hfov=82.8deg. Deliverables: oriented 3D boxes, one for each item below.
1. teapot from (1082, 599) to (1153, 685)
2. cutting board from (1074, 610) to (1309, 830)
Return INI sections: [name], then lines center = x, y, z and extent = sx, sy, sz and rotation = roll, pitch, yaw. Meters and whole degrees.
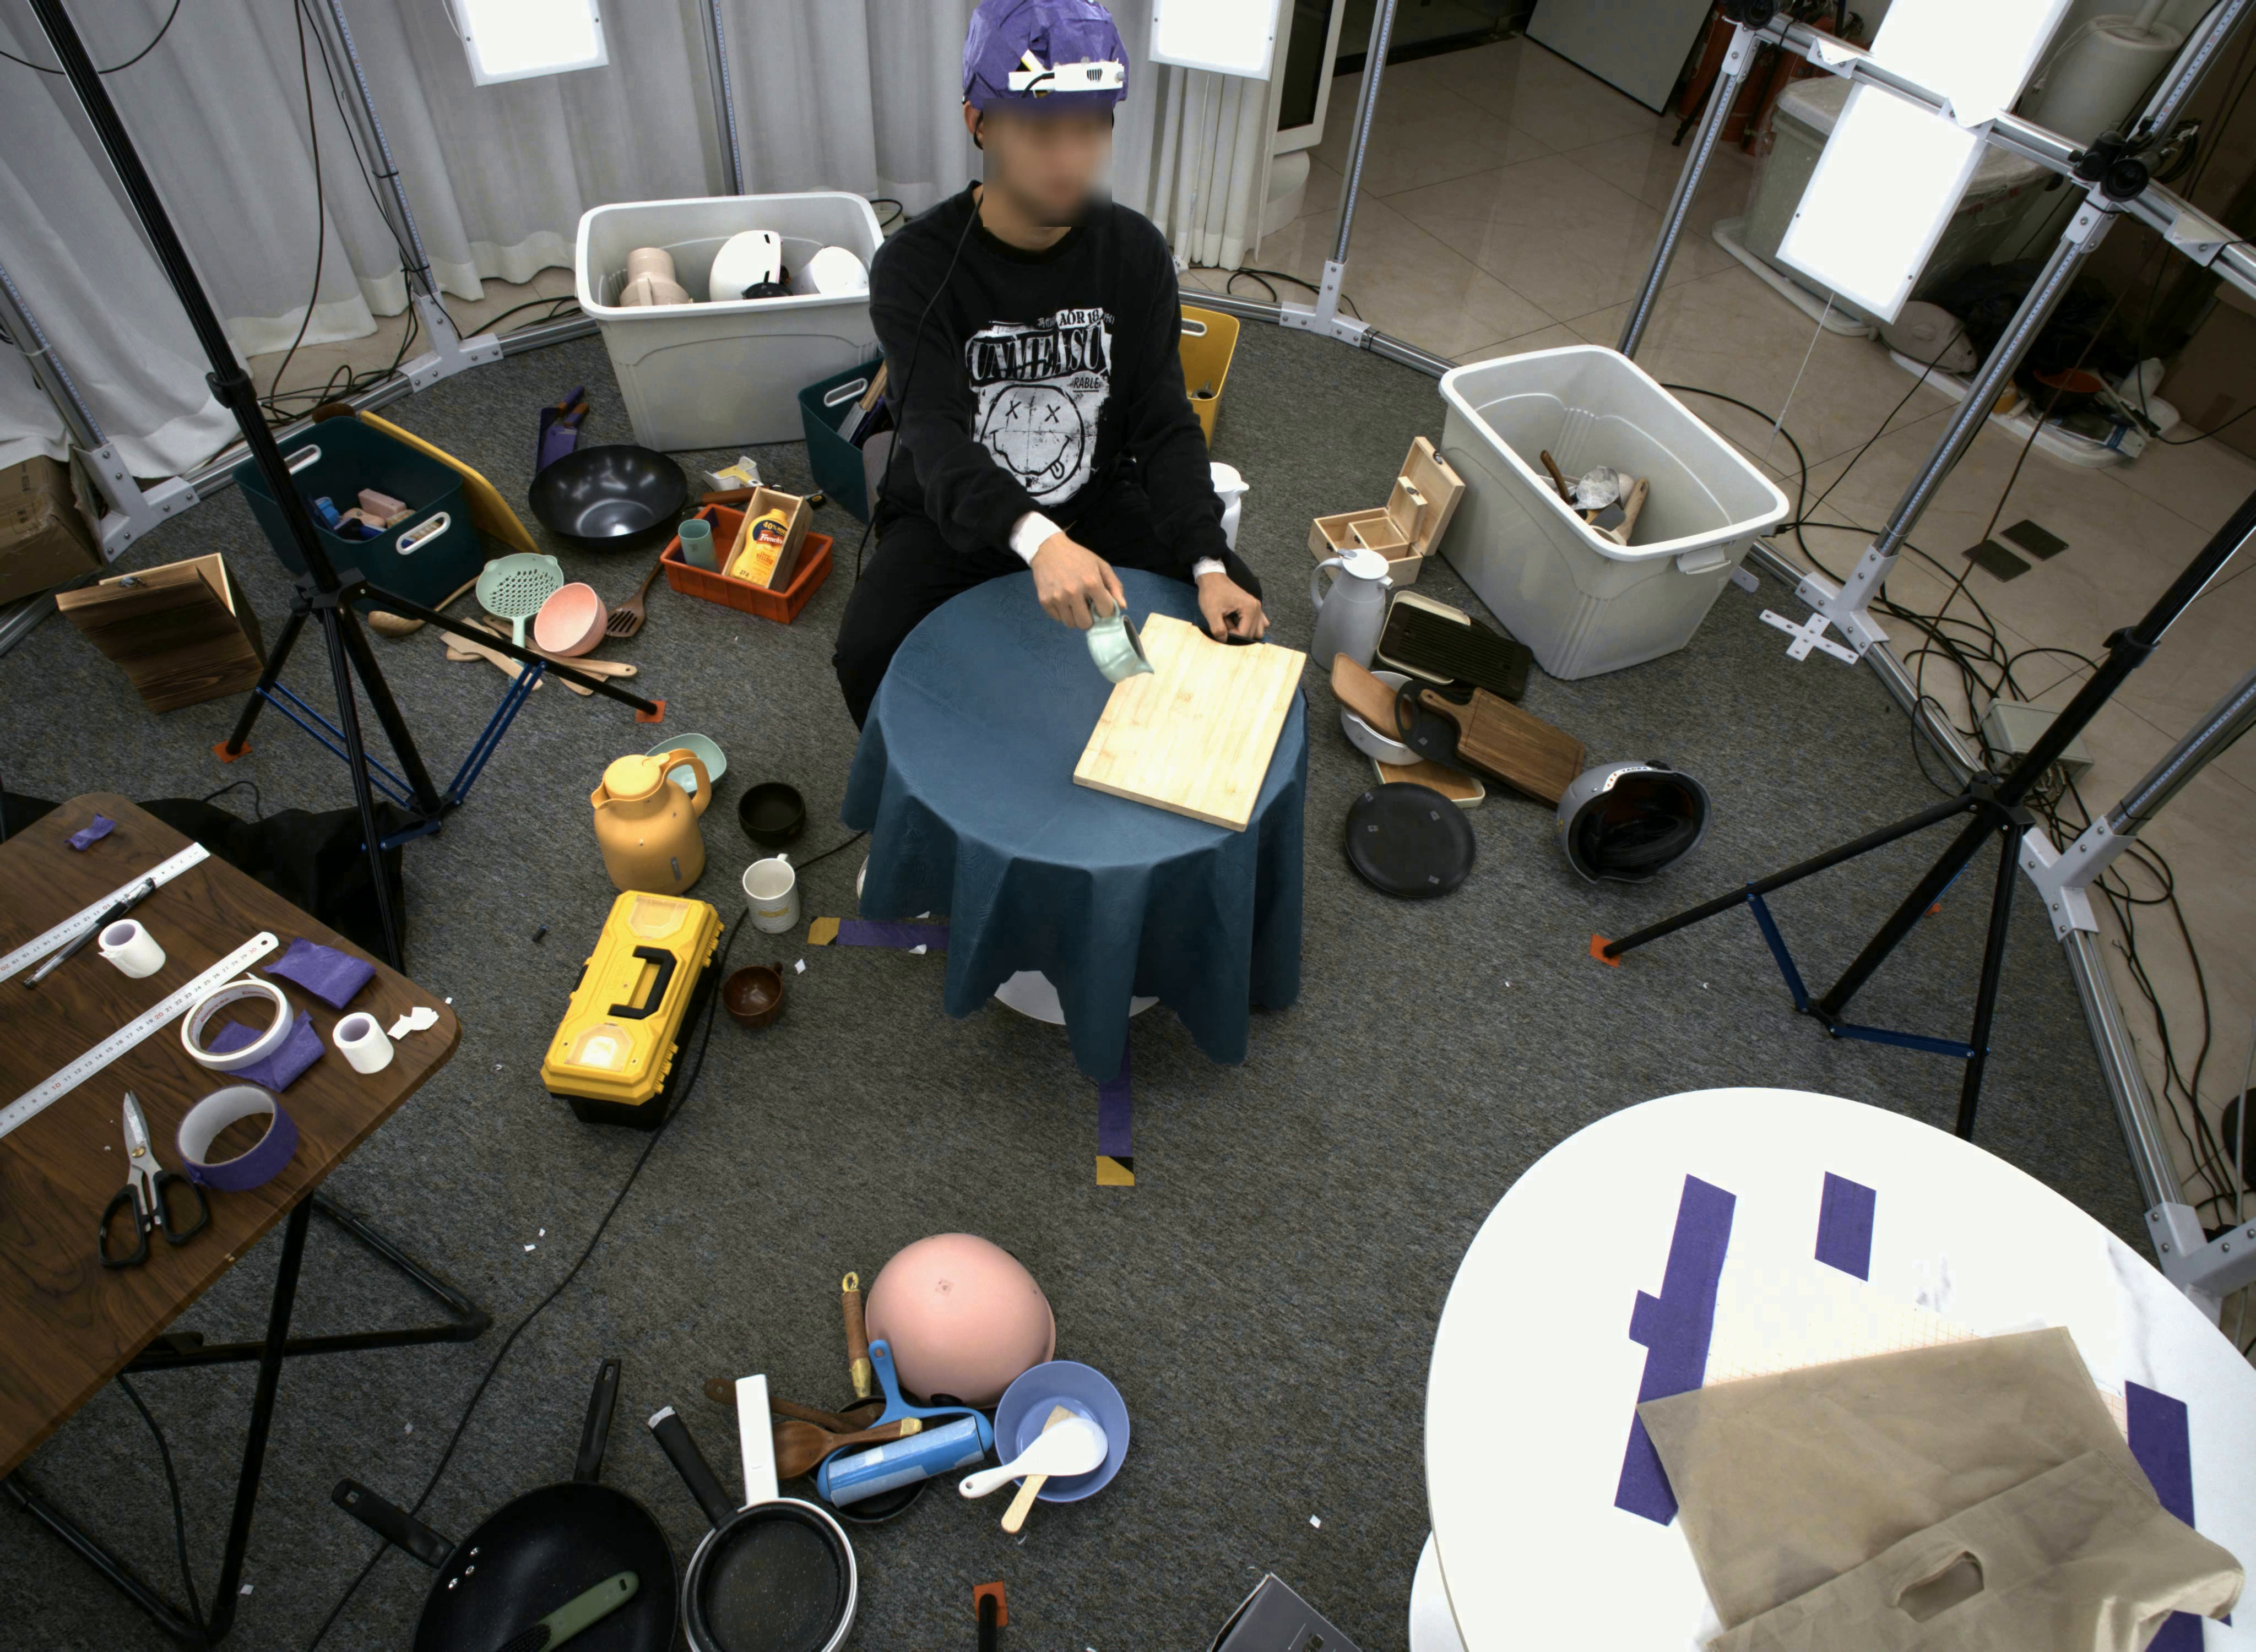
[teapot]
center = -0.021, -0.239, 1.672
extent = 0.061, 0.134, 0.098
rotation = -21, 39, 18
[cutting board]
center = 0.095, -0.158, 1.796
extent = 0.251, 0.023, 0.356
rotation = 15, 52, 9
